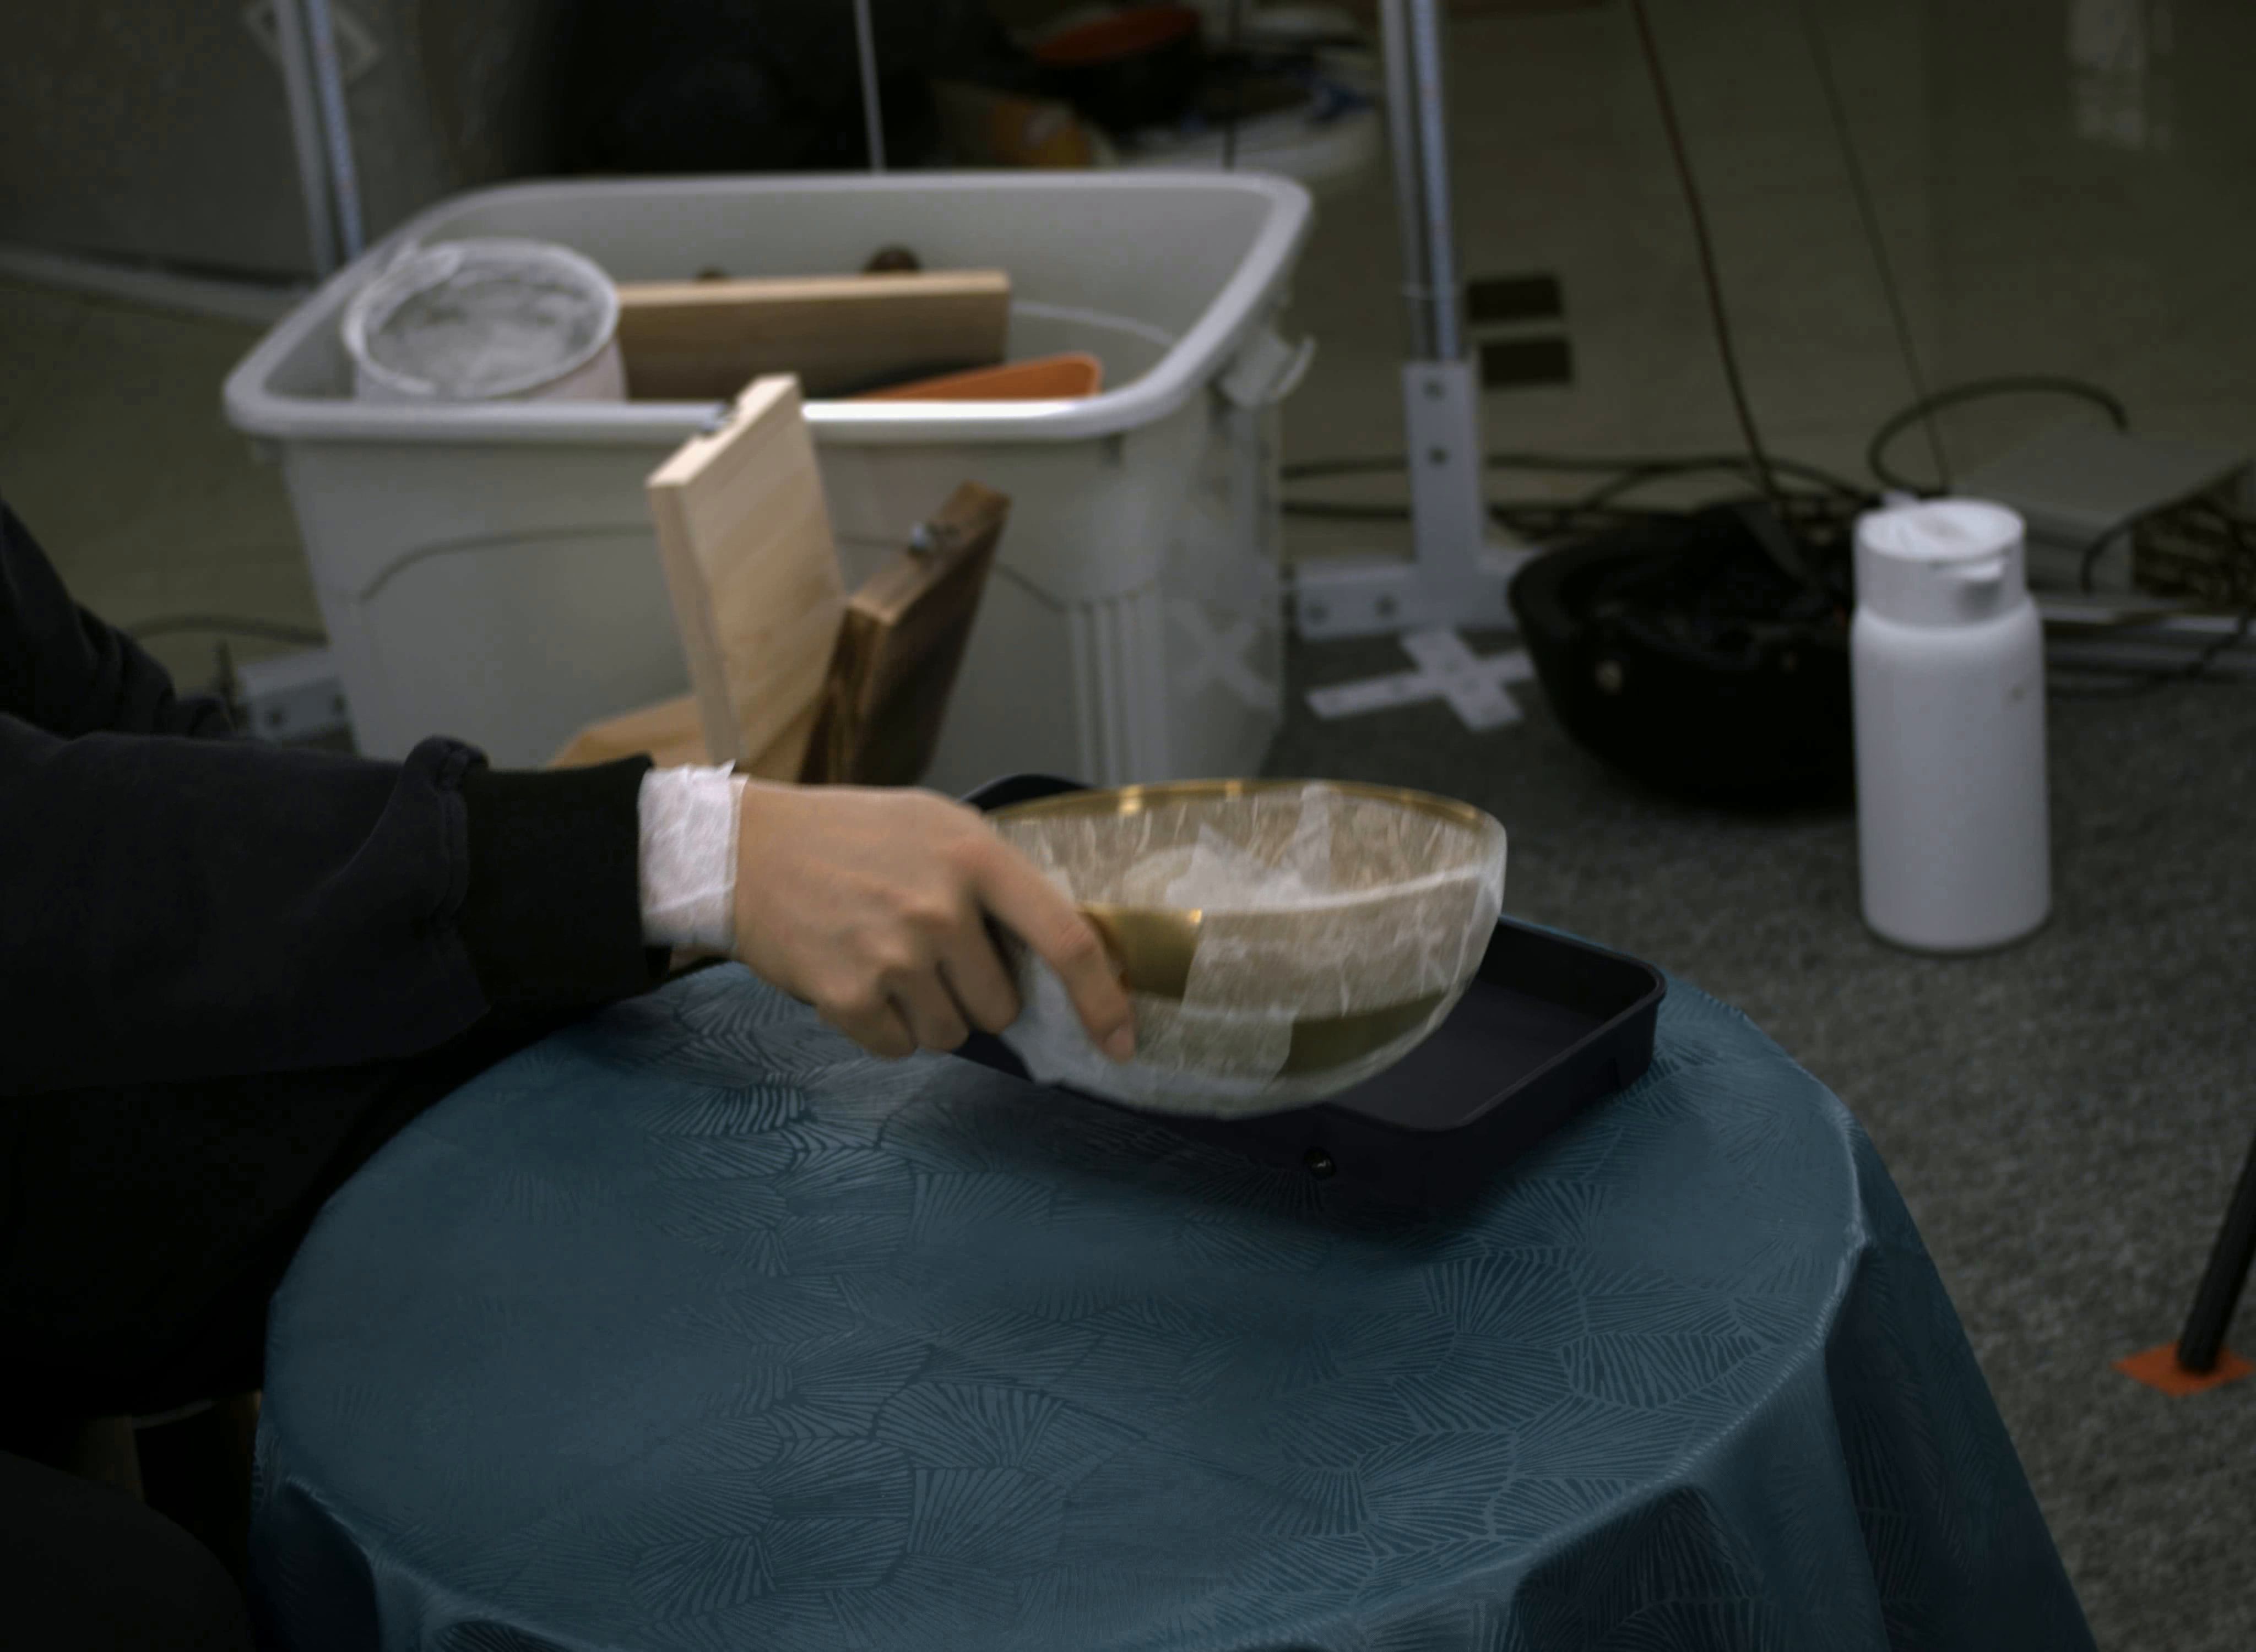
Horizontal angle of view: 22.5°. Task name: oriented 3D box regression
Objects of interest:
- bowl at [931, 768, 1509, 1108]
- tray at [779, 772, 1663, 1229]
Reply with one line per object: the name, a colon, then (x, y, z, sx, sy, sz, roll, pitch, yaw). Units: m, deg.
bowl: (0.032, 0.045, 1.987, 0.214, 0.095, 0.212, -2, 14, 1)
tray: (0.034, 0.064, 2.214, 0.315, 0.037, 0.182, 21, 30, 31)
